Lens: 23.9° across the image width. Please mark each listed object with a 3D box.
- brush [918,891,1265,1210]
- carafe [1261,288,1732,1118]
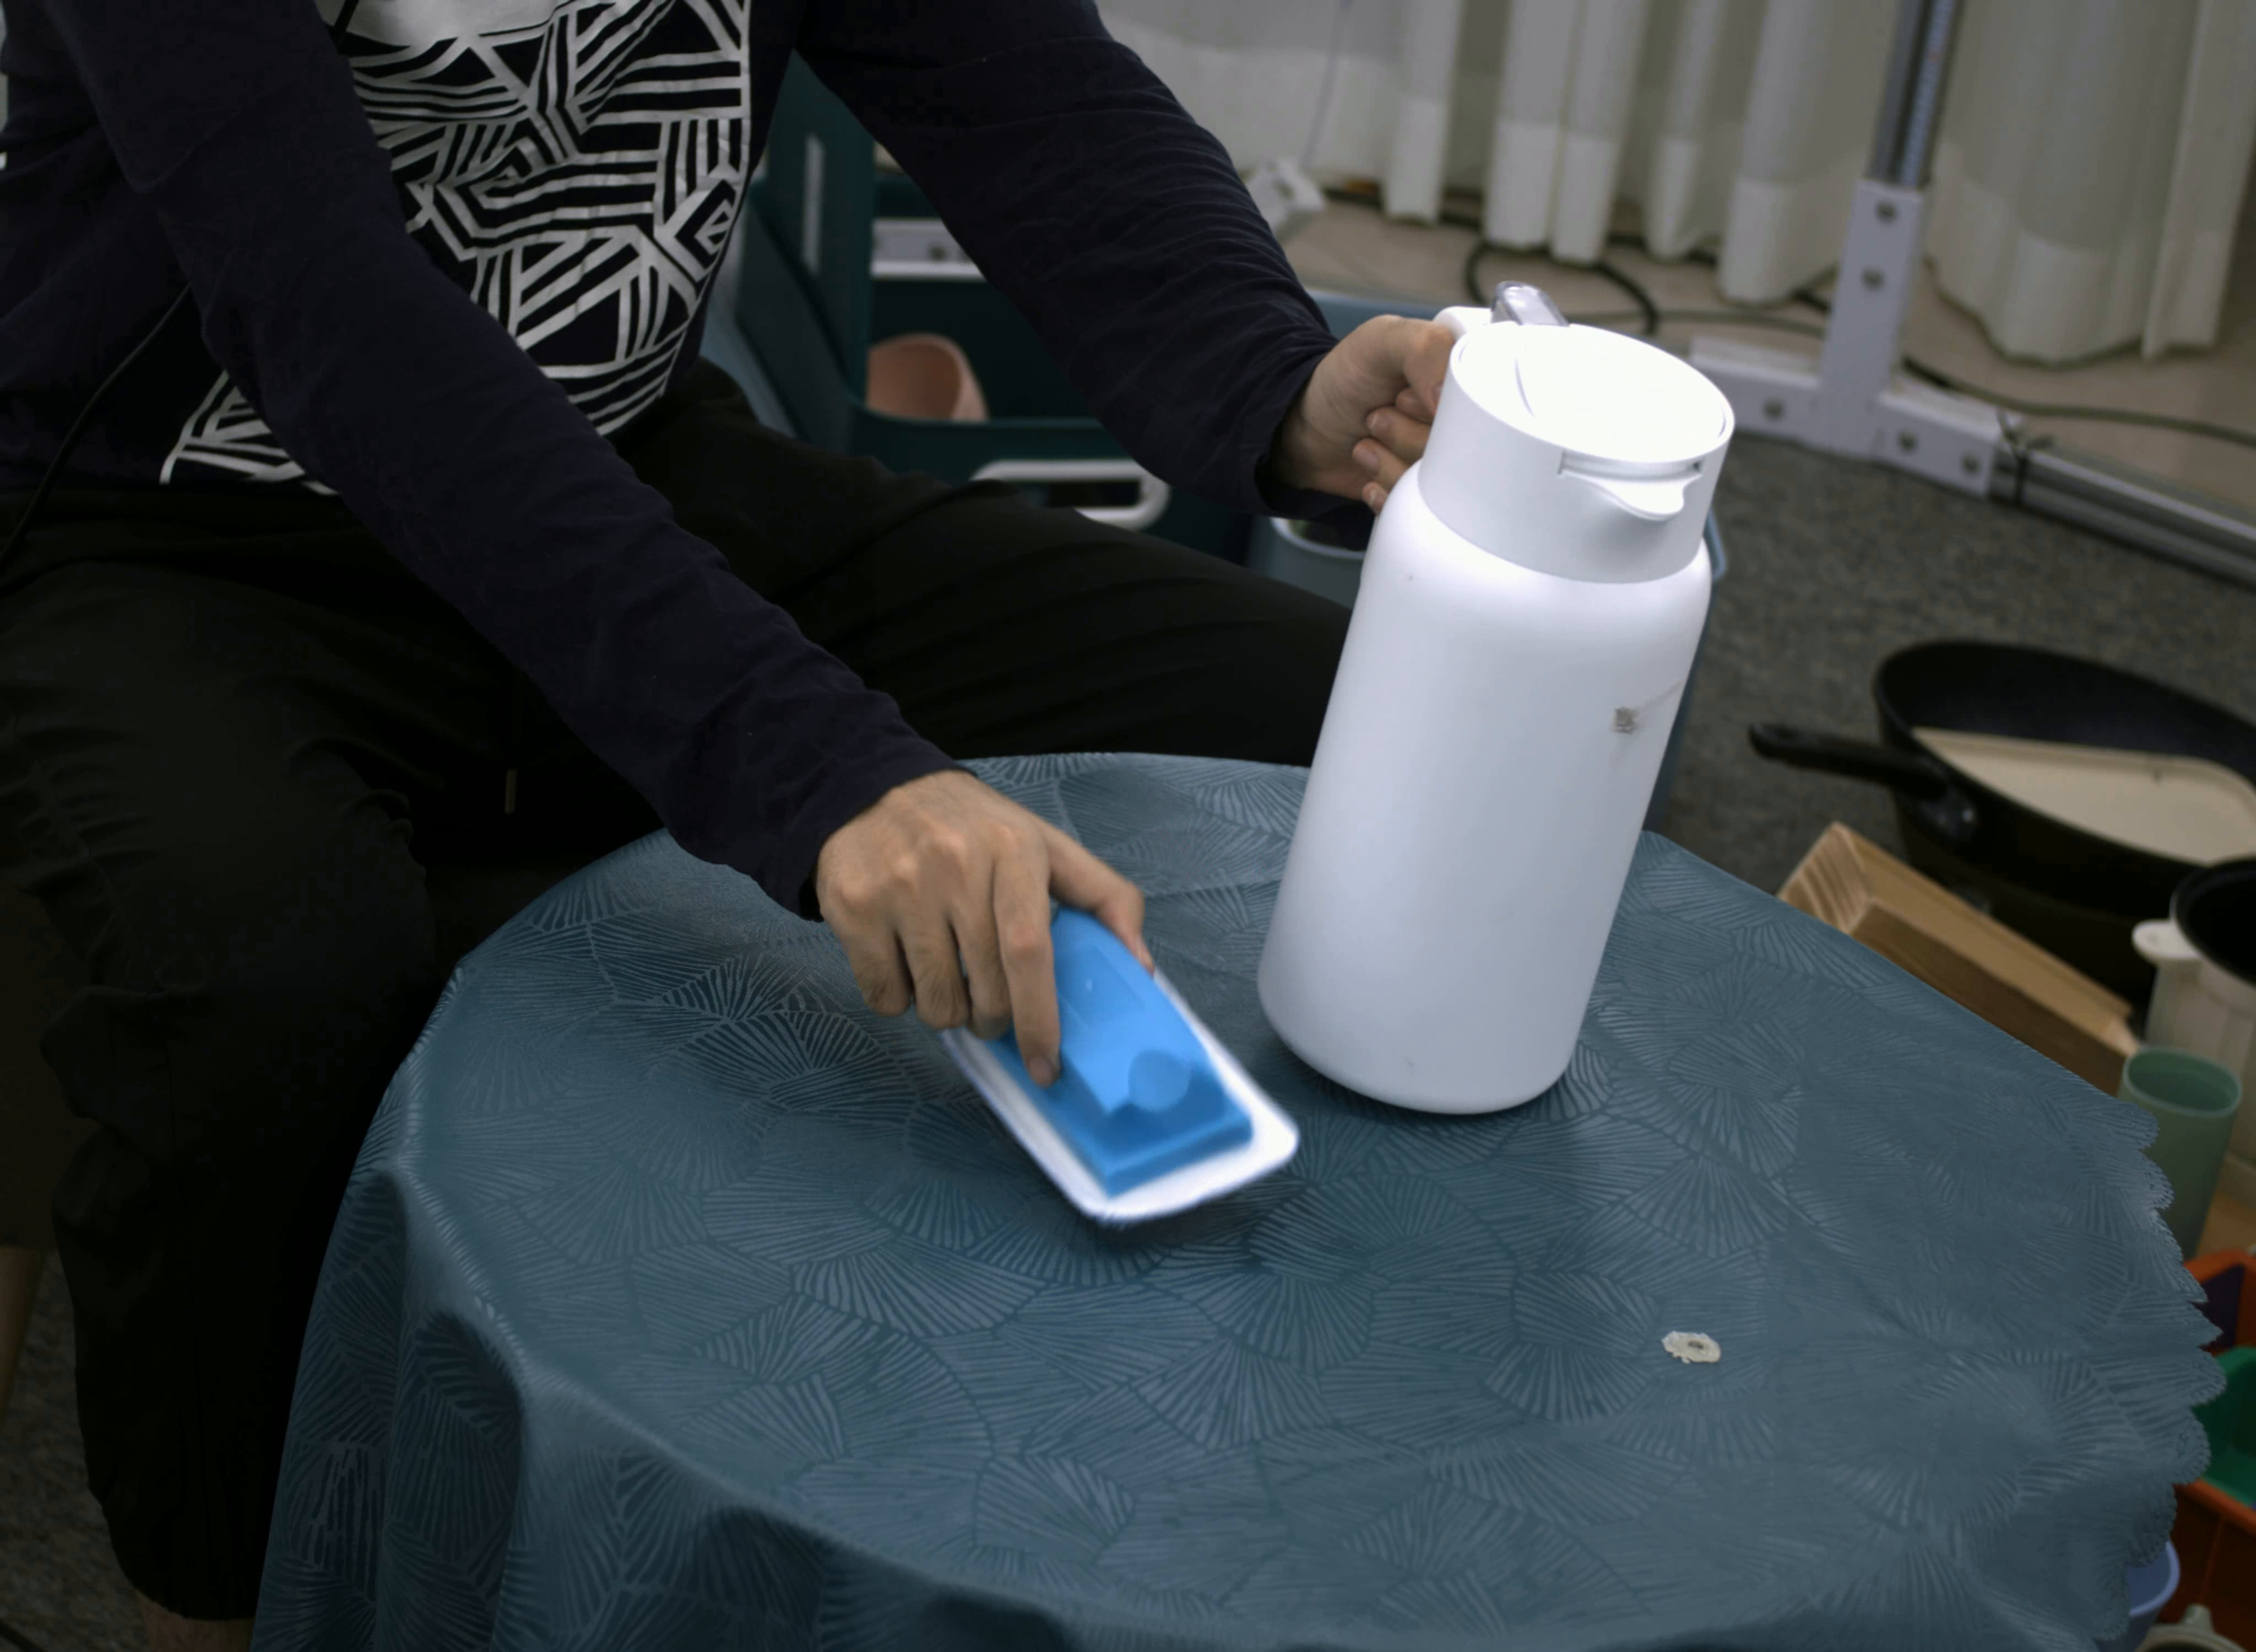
[{"bbox_3d":[-0.012,0.071,1.812,0.083,0.055,0.145,-15,39,-19],"label":"brush"},{"bbox_3d":[0.122,-0.046,1.860,0.123,0.268,0.174,-3,33,-22],"label":"carafe"}]
